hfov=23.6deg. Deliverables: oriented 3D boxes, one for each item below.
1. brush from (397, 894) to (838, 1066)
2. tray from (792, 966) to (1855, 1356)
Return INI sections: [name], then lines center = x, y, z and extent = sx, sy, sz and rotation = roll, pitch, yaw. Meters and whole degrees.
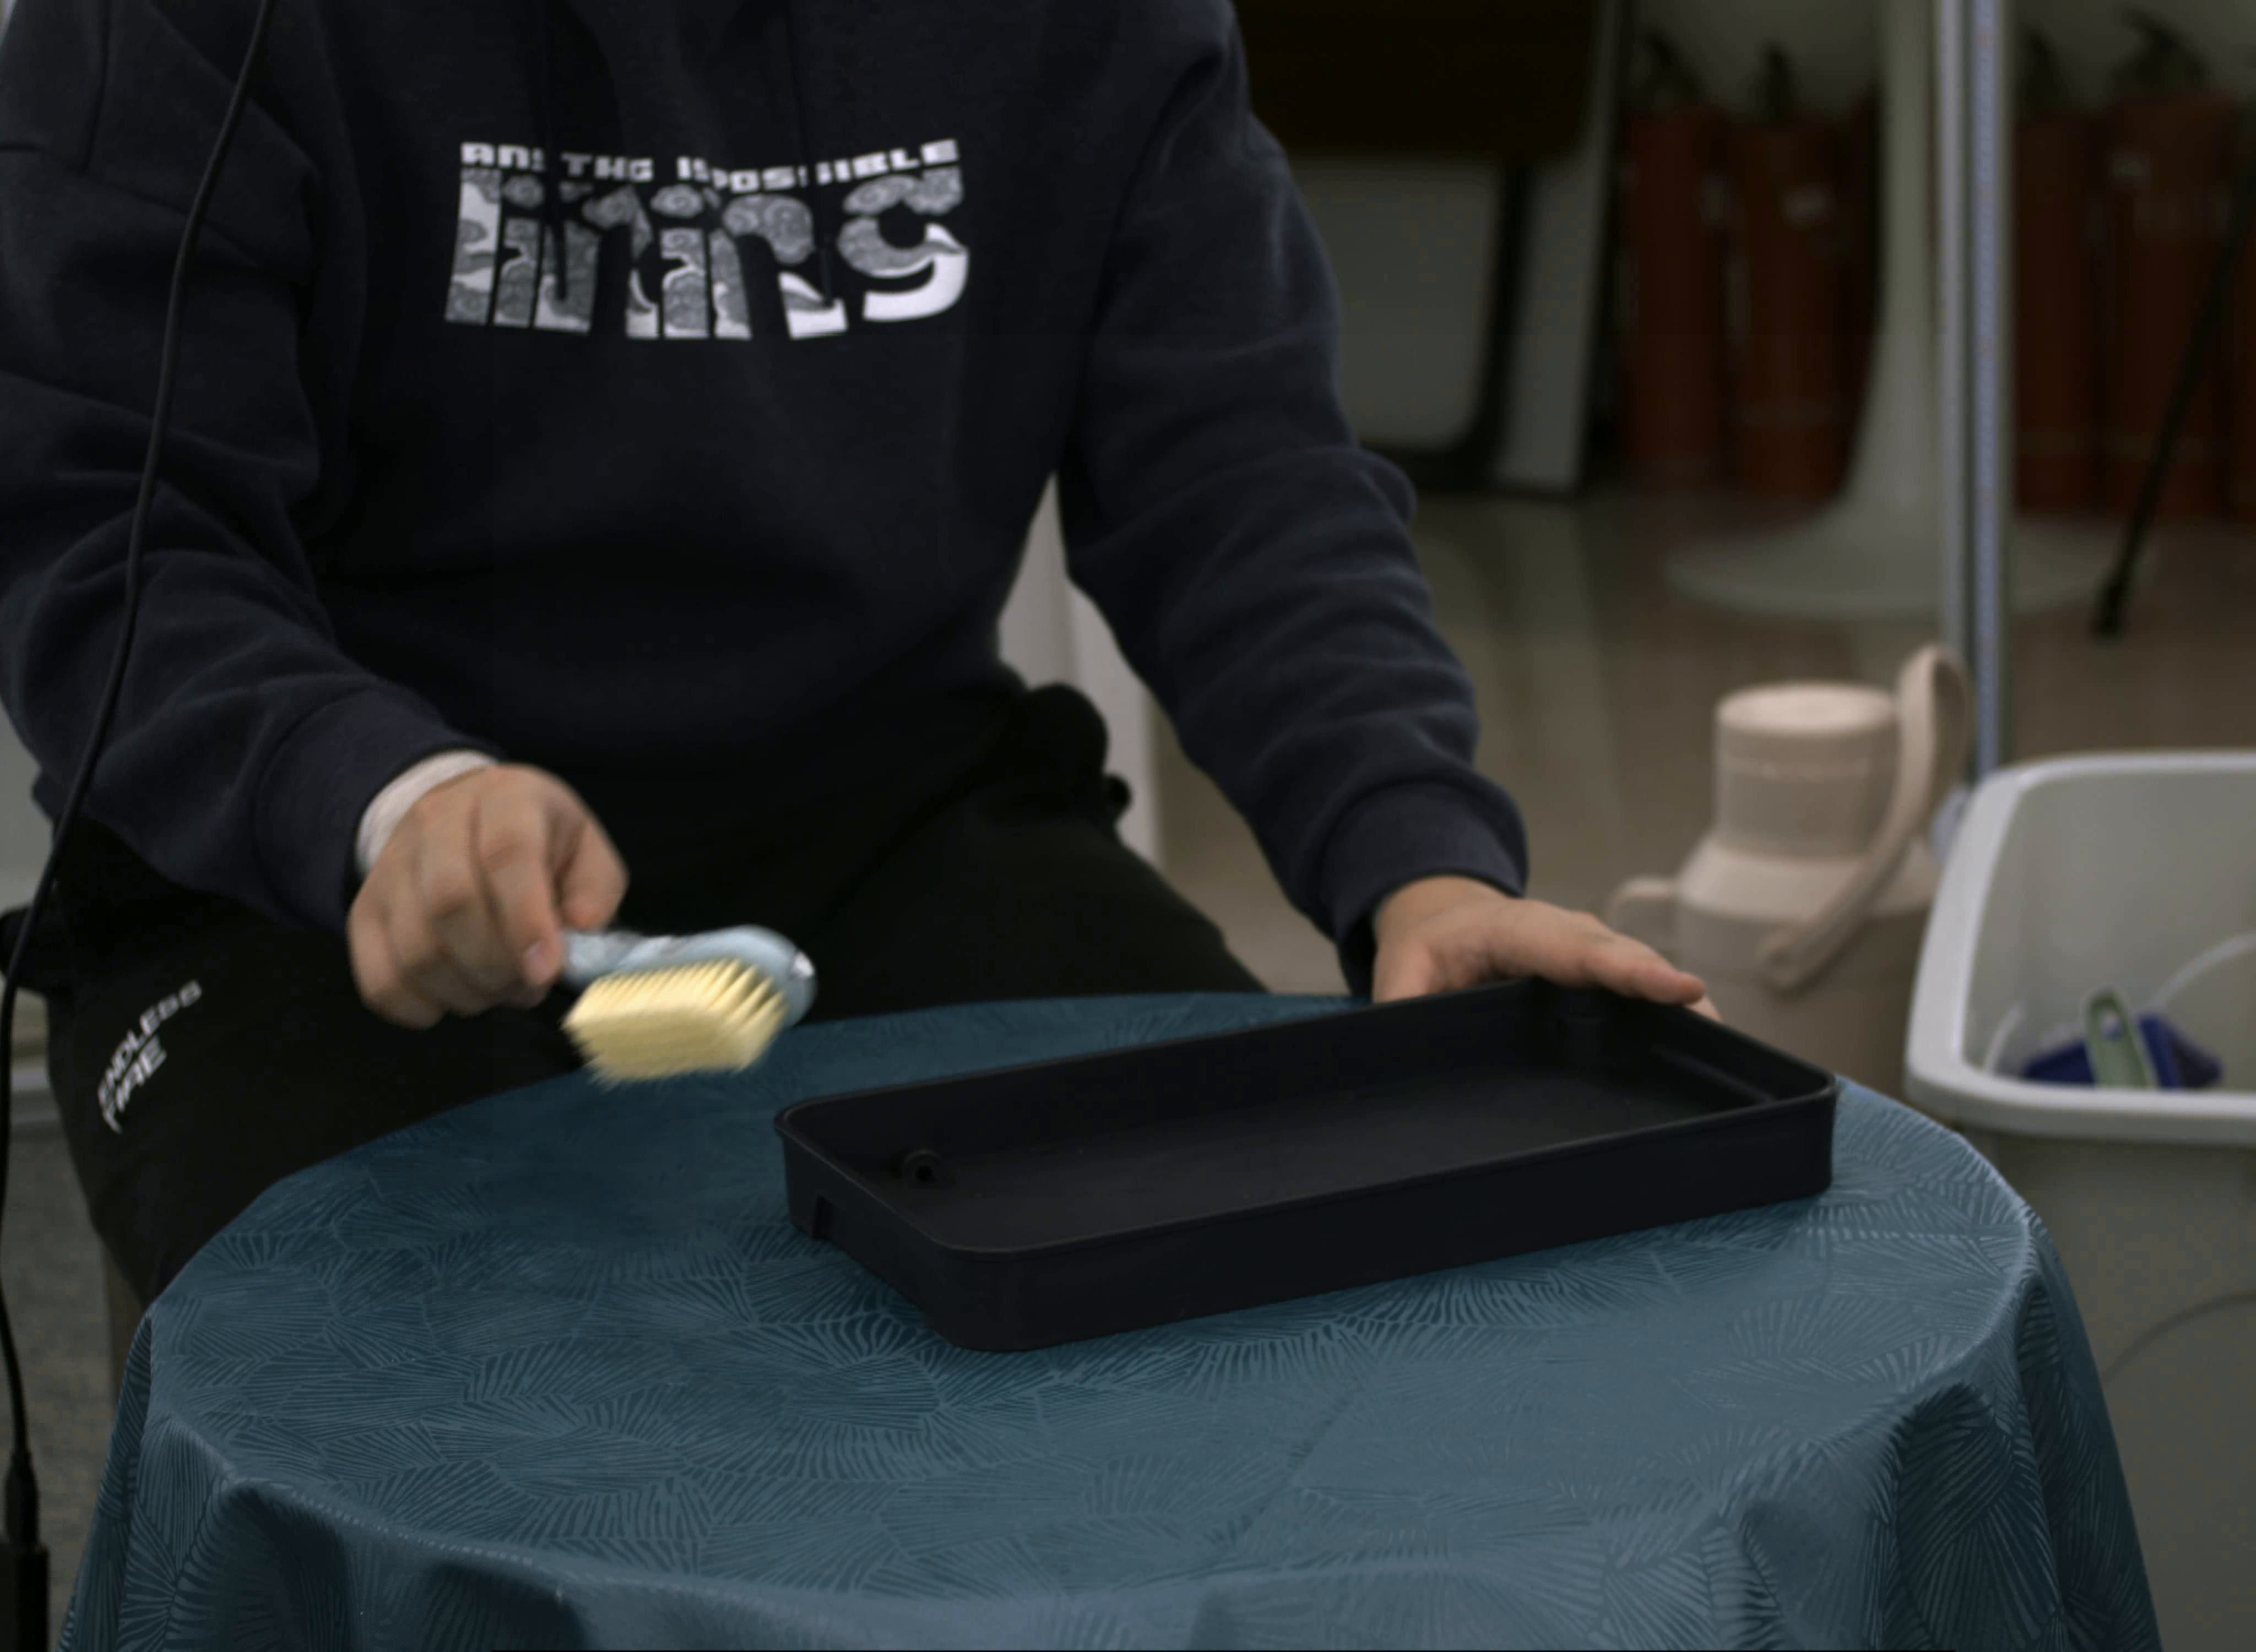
[brush]
center = -0.171, 0.046, 1.713
extent = 0.231, 0.037, 0.049
rotation = 6, 55, 53
[tray]
center = 0.064, 0.104, 1.751
extent = 0.311, 0.037, 0.186
rotation = -10, 14, -23
